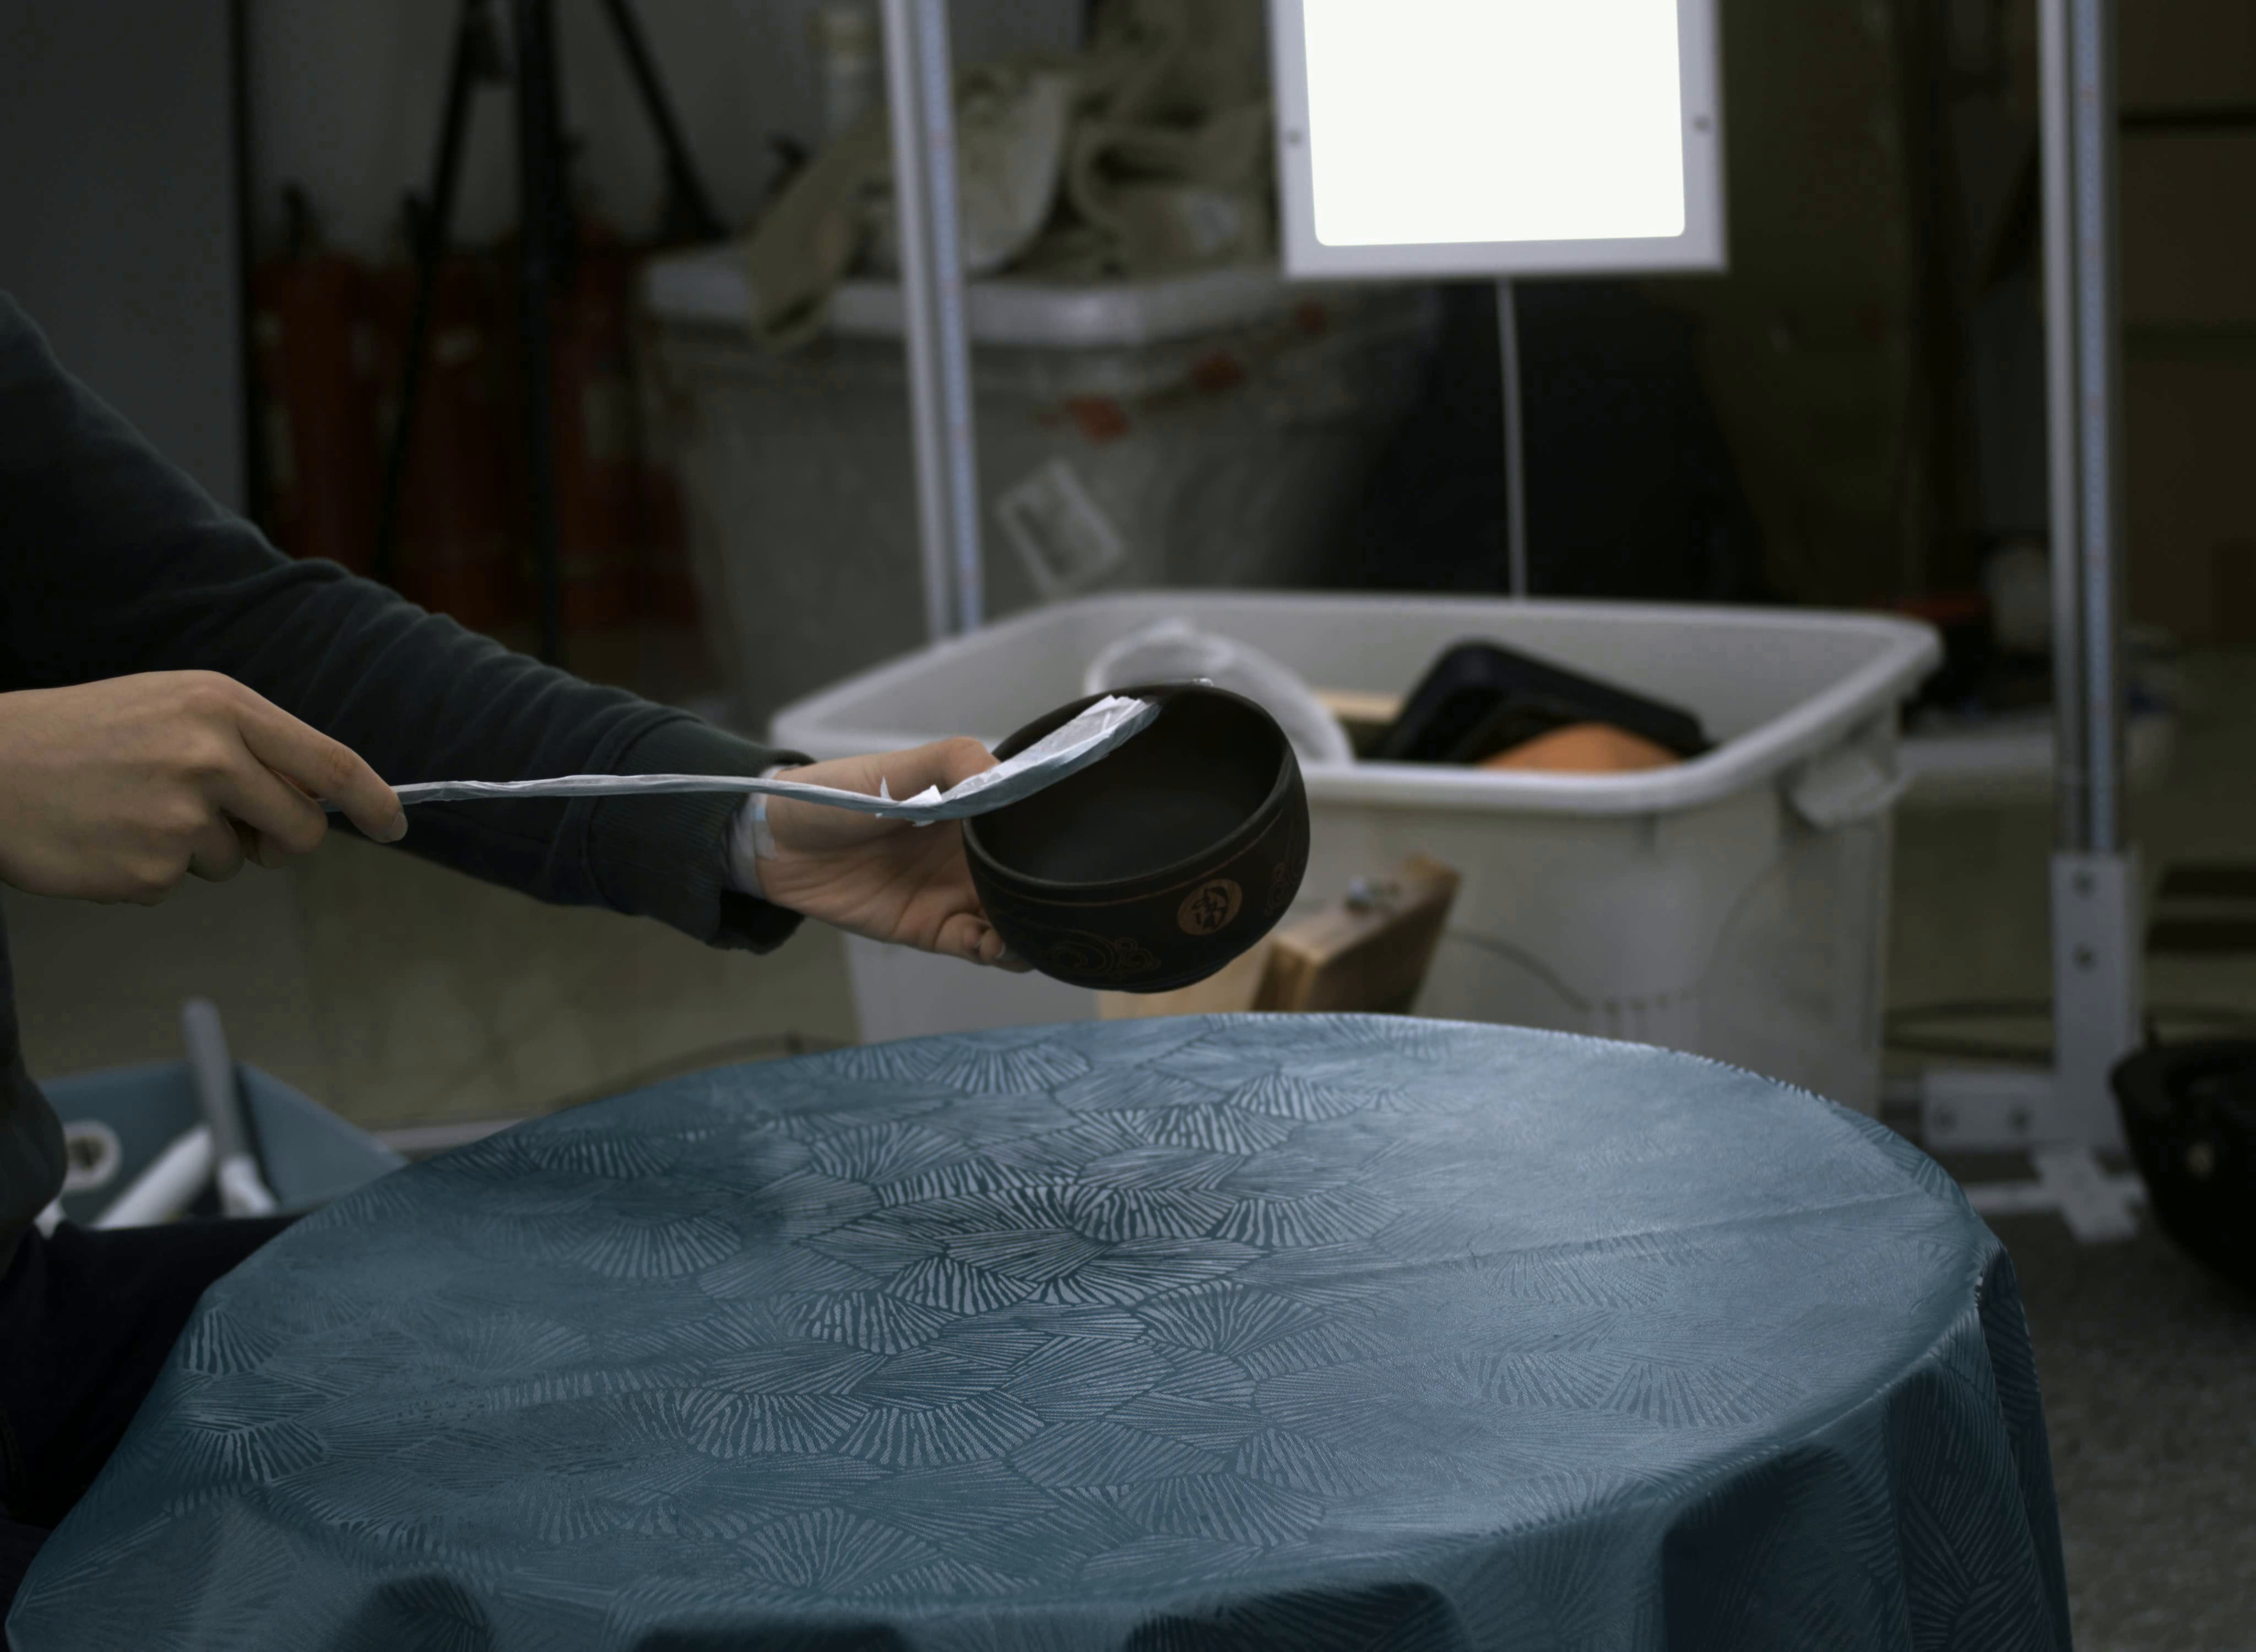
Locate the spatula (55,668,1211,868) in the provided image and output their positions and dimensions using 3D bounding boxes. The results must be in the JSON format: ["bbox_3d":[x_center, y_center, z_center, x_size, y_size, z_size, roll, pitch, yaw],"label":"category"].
[{"bbox_3d":[-0.149,-0.018,1.702,0.359,0.045,0.100,-3,-2,-18],"label":"spatula"}]

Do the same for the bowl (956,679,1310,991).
[{"bbox_3d":[0.006,0.011,1.850,0.118,0.070,0.118,-13,33,7],"label":"bowl"}]
